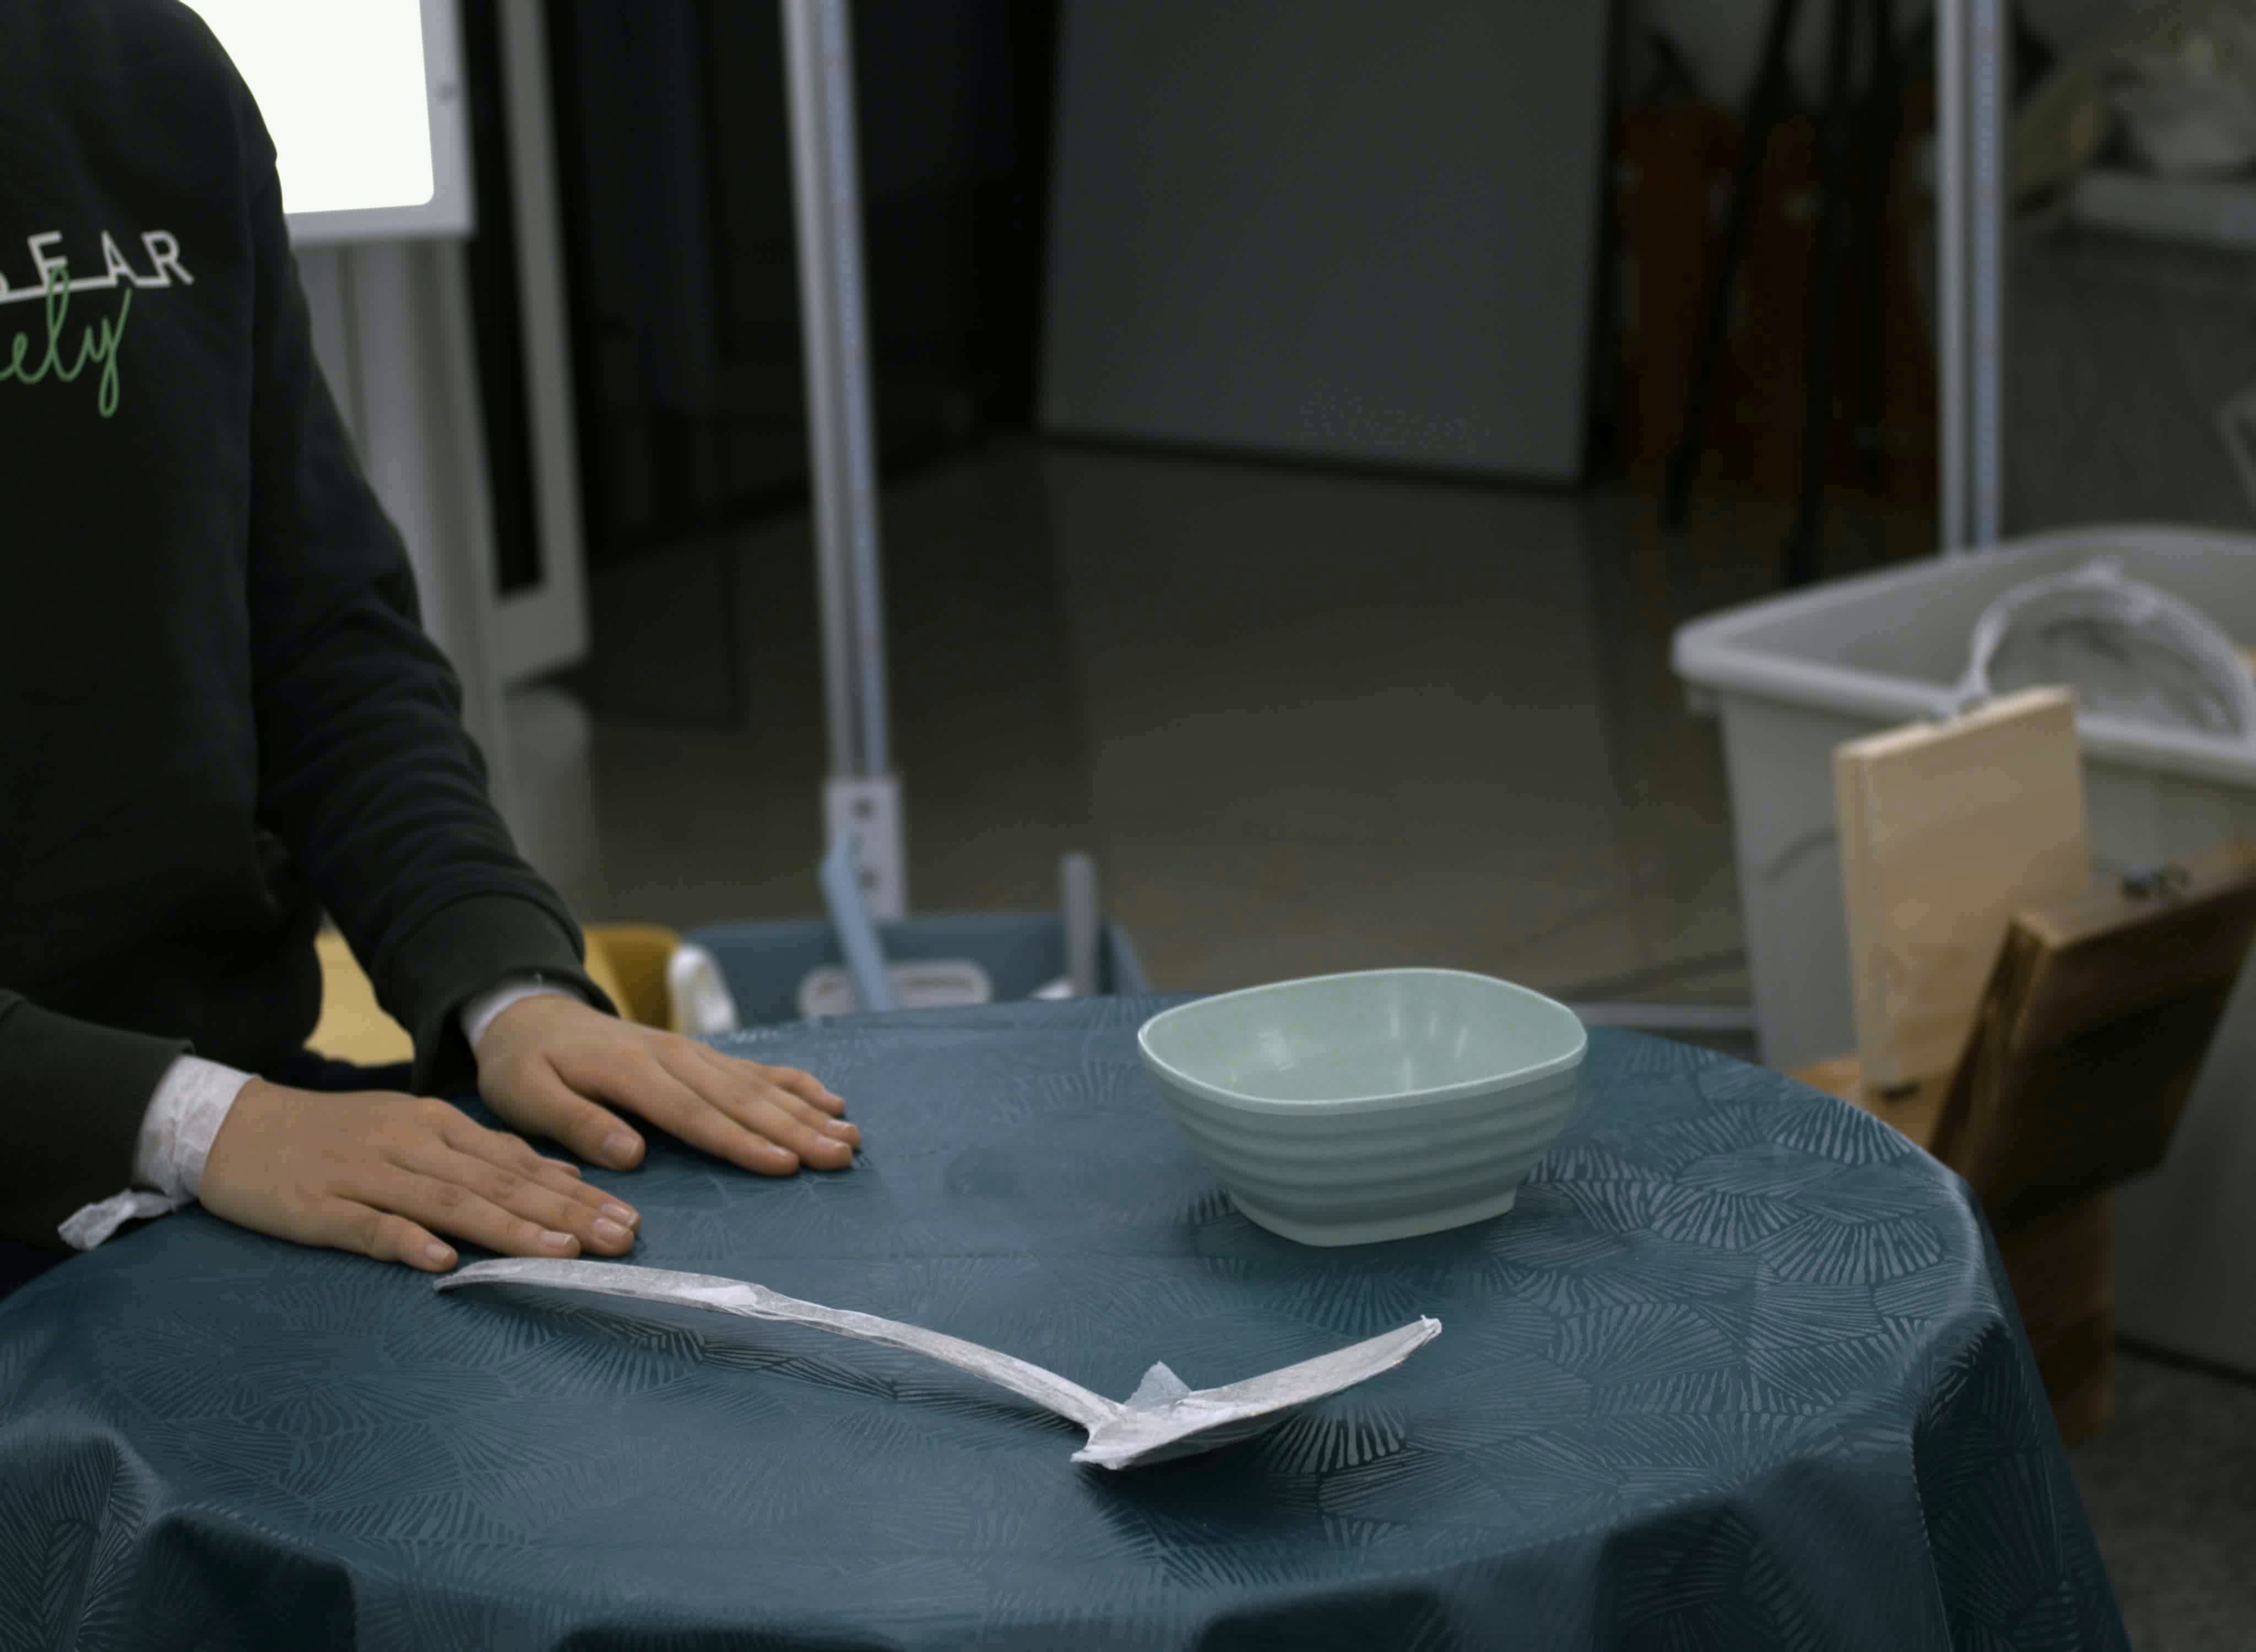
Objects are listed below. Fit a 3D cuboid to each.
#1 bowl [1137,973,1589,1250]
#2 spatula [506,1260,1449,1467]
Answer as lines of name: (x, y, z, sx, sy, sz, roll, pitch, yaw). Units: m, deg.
bowl: (0.075, 0.095, 1.739, 0.149, 0.059, 0.152, -1, 14, -1)
spatula: (-0.066, 0.148, 1.603, 0.368, 0.045, 0.097, 8, 20, 40)
